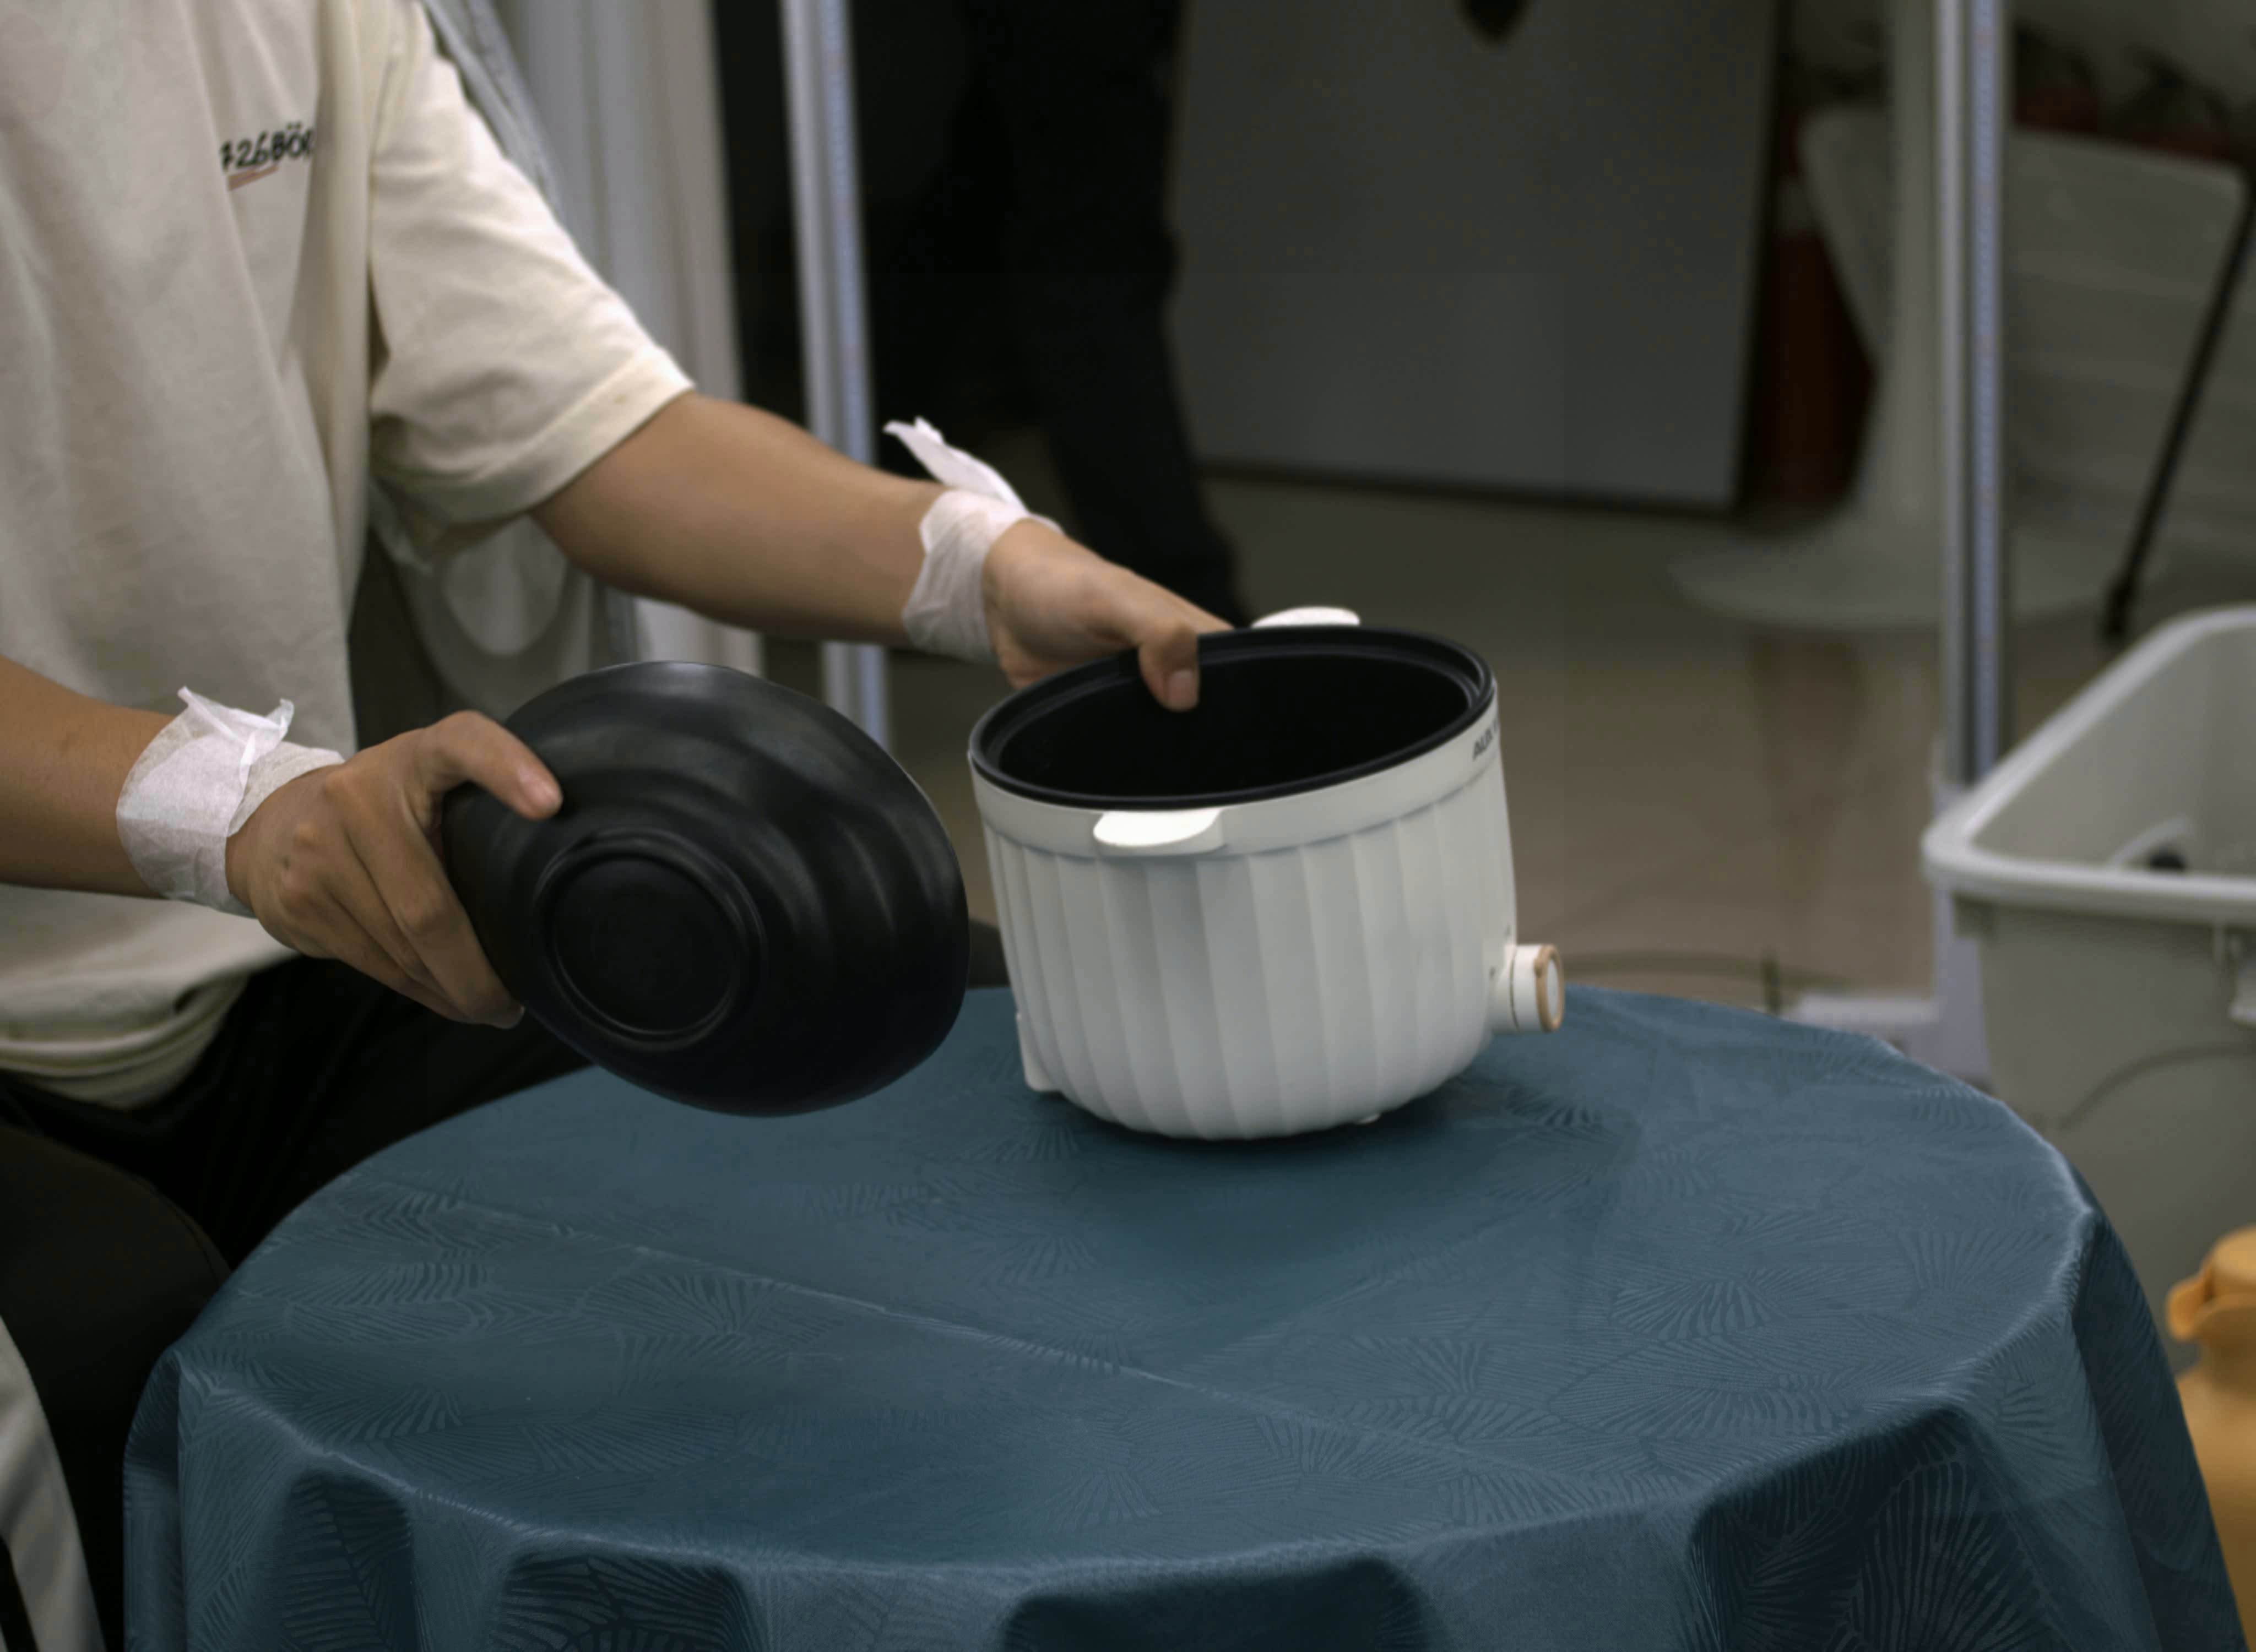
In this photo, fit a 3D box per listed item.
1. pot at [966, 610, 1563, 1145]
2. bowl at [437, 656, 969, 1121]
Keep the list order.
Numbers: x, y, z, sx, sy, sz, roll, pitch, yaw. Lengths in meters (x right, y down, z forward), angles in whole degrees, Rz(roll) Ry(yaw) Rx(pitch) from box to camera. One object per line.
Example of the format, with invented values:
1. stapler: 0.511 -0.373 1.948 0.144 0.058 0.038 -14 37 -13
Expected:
1. pot: 0.049 0.022 1.846 0.190 0.144 0.239 -6 19 19
2. bowl: -0.132 0.024 1.599 0.170 0.139 0.066 26 24 9
